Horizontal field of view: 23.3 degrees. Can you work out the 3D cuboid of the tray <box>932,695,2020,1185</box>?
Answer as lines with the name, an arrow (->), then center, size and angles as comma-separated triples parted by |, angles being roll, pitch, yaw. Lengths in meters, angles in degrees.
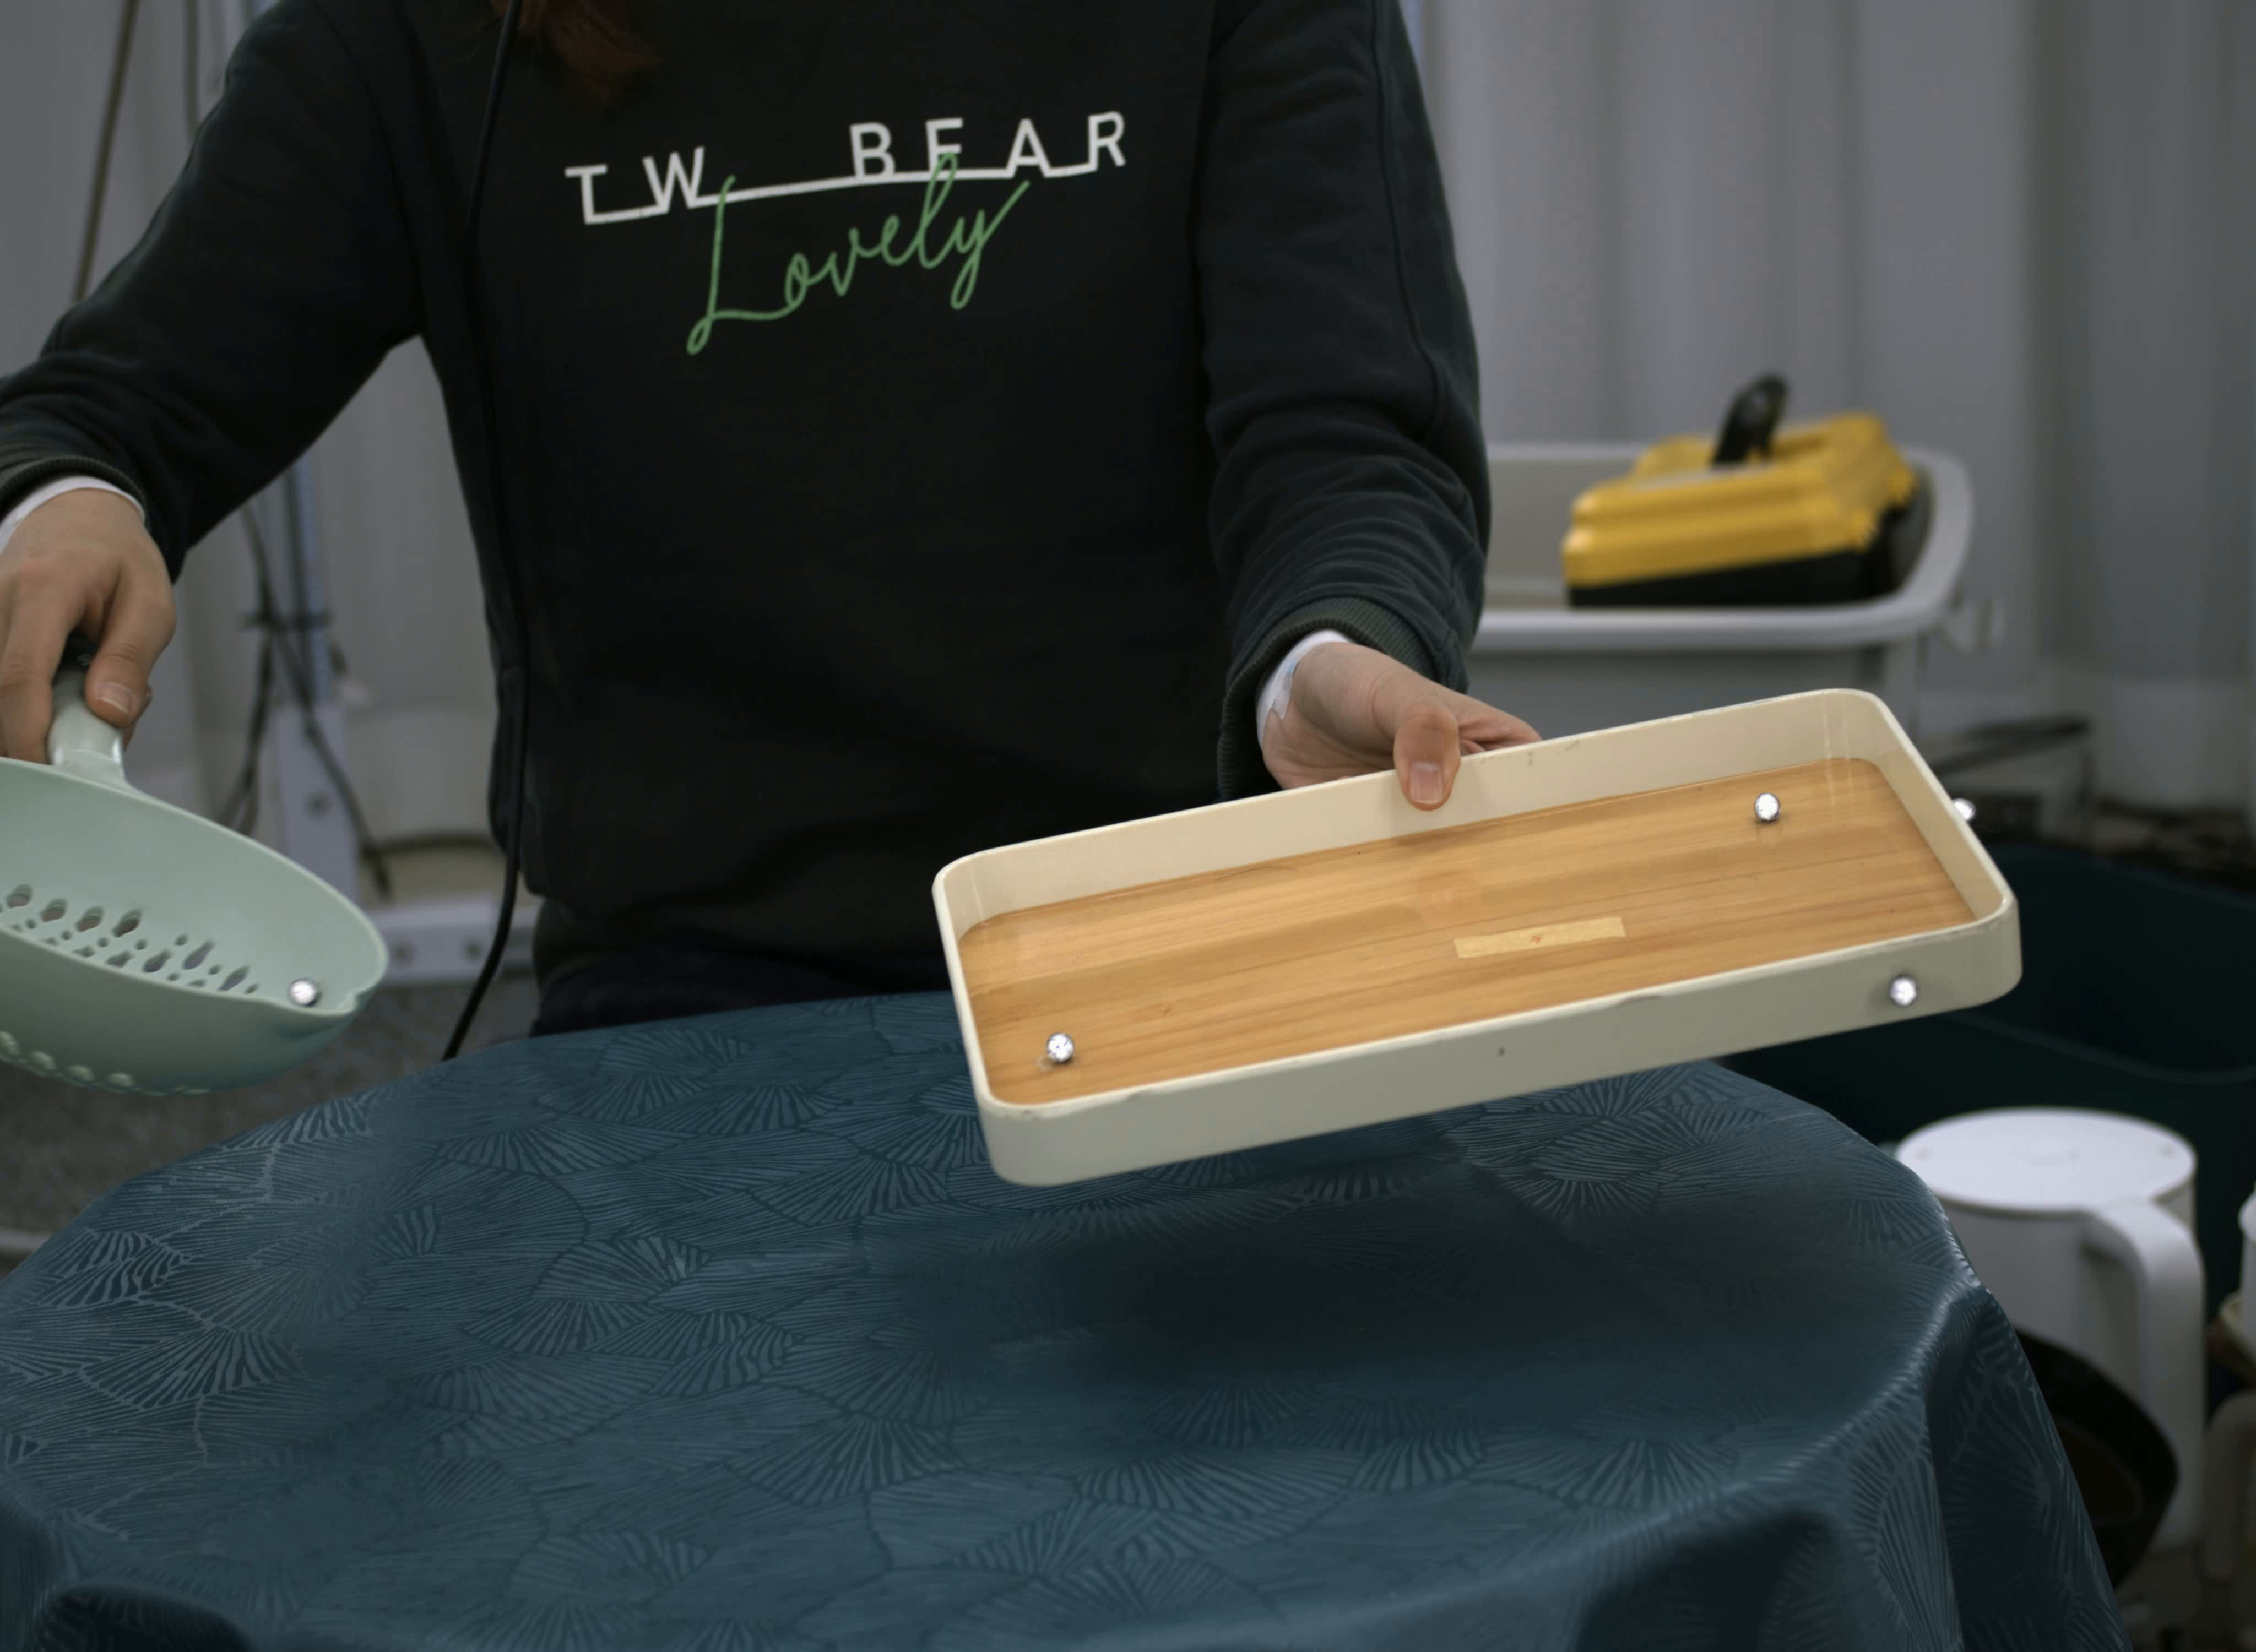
tray -> 0.096, 0.031, 1.610 | 0.299, 0.027, 0.193 | -10, 23, -2

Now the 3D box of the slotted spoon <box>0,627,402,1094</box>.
slotted spoon -> -0.313, -0.007, 1.662 | 0.168, 0.075, 0.363 | 18, 21, -17
